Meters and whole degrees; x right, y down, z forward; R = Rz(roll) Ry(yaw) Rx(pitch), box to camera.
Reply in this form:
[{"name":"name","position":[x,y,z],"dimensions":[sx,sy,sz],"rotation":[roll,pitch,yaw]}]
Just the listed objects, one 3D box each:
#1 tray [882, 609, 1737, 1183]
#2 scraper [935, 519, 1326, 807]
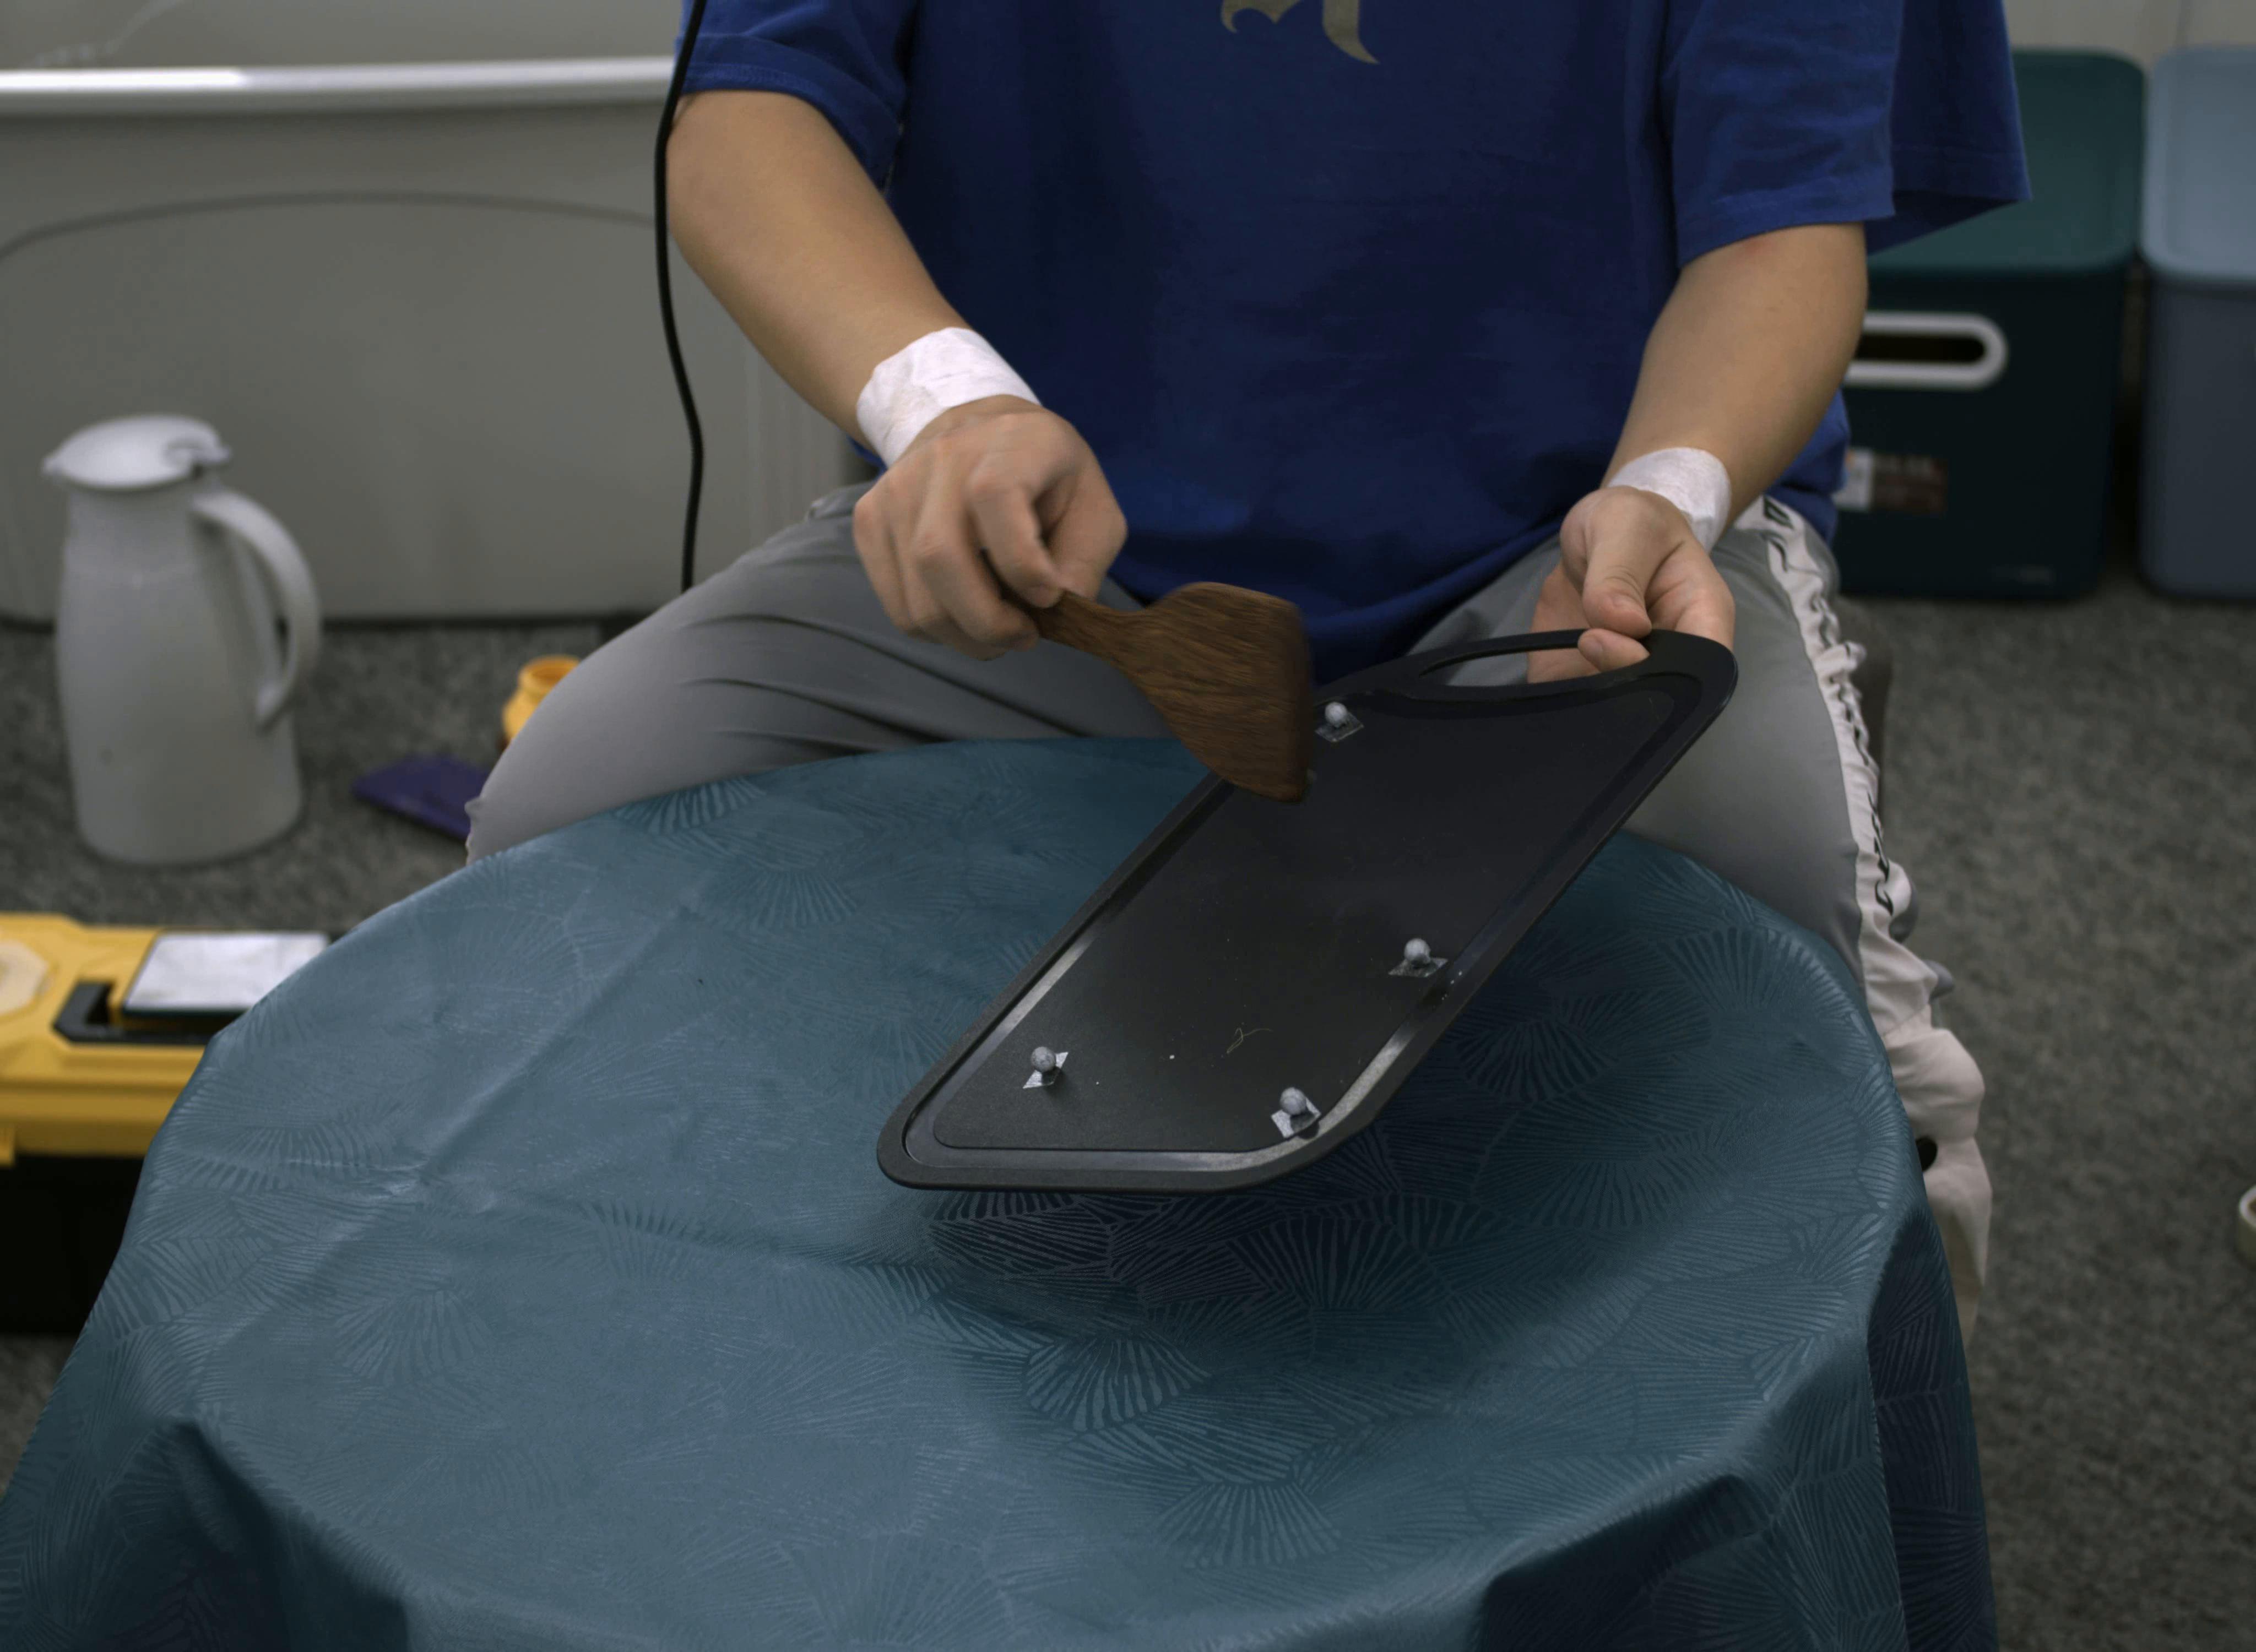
[{"name":"tray","position":[0.065,0.017,1.867],"dimensions":[0.209,0.010,0.331],"rotation":[-3,32,42]},{"name":"scraper","position":[-0.003,-0.067,1.927],"dimensions":[0.011,0.075,0.211],"rotation":[-15,26,-35]}]
